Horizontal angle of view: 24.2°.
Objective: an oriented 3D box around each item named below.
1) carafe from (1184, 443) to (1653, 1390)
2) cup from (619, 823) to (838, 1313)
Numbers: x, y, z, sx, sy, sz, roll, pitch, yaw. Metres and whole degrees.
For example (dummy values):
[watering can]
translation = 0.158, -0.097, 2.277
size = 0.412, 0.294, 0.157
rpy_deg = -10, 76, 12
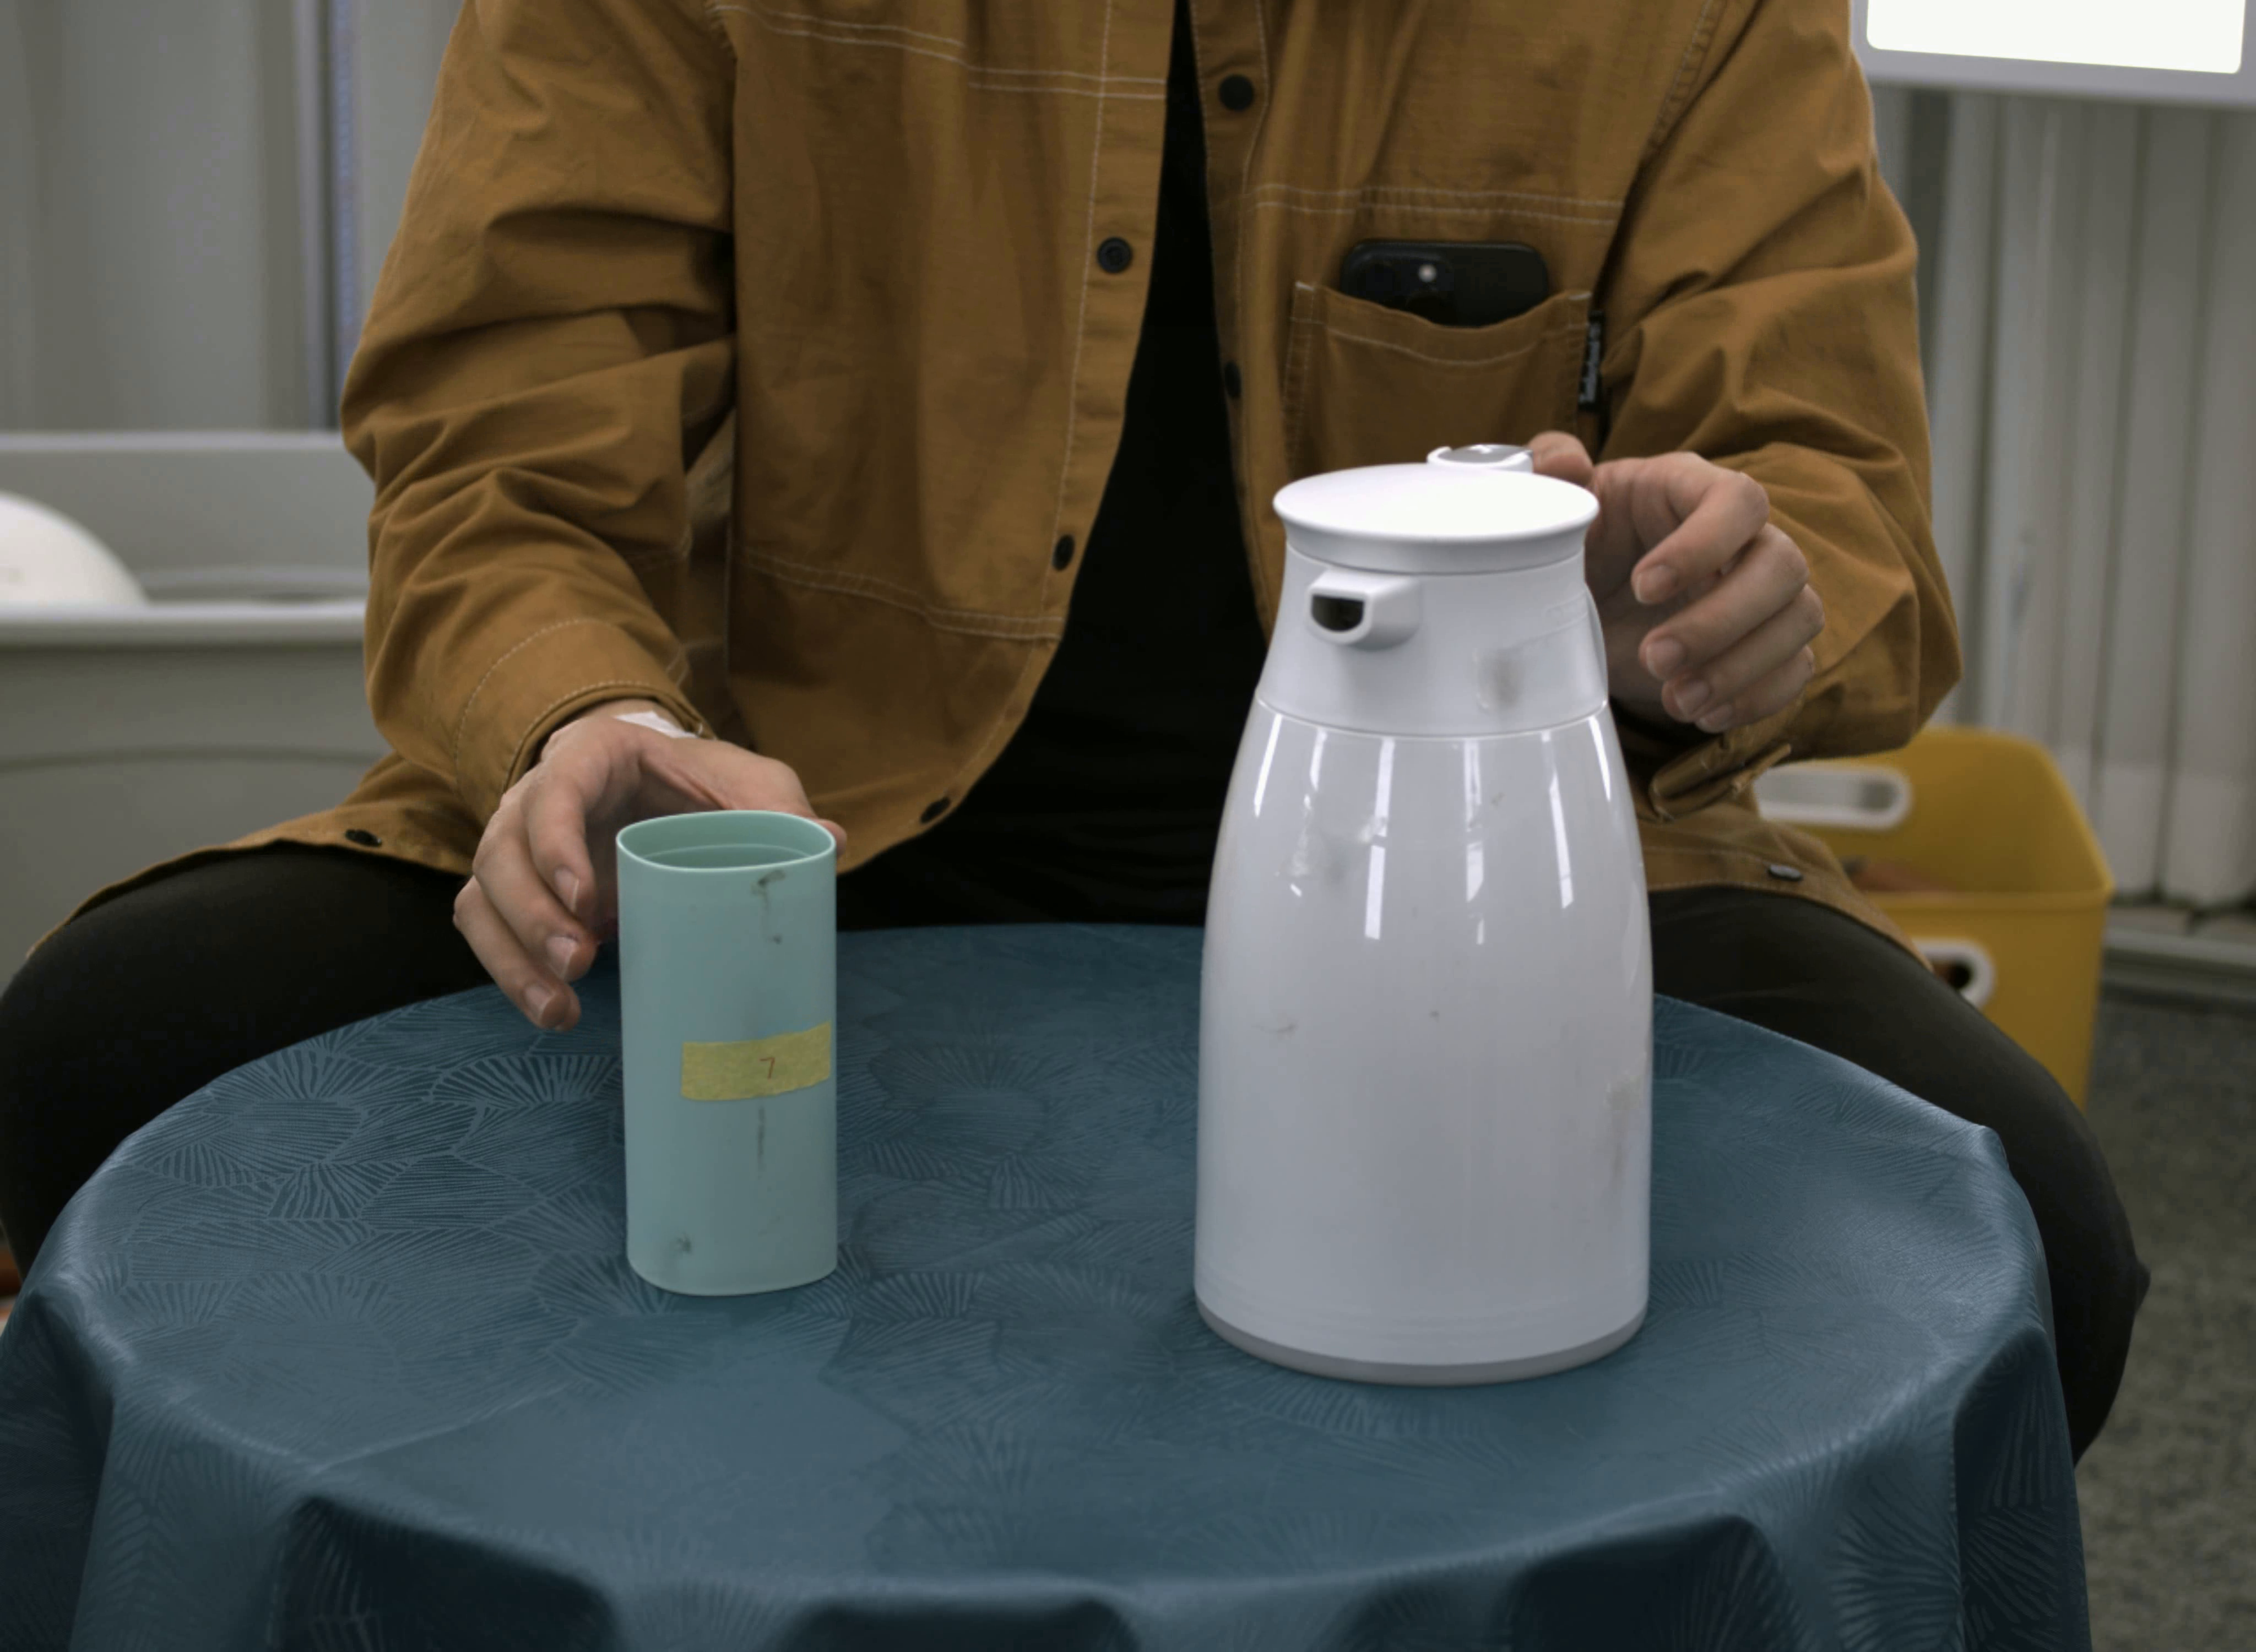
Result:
[carafe]
translation = 0.094, 0.017, 1.511
size = 0.131, 0.250, 0.168
rpy_deg = 10, 18, 26
[cup]
translation = -0.117, 0.069, 1.542
size = 0.066, 0.133, 0.066
rpy_deg = 1, 16, 0
